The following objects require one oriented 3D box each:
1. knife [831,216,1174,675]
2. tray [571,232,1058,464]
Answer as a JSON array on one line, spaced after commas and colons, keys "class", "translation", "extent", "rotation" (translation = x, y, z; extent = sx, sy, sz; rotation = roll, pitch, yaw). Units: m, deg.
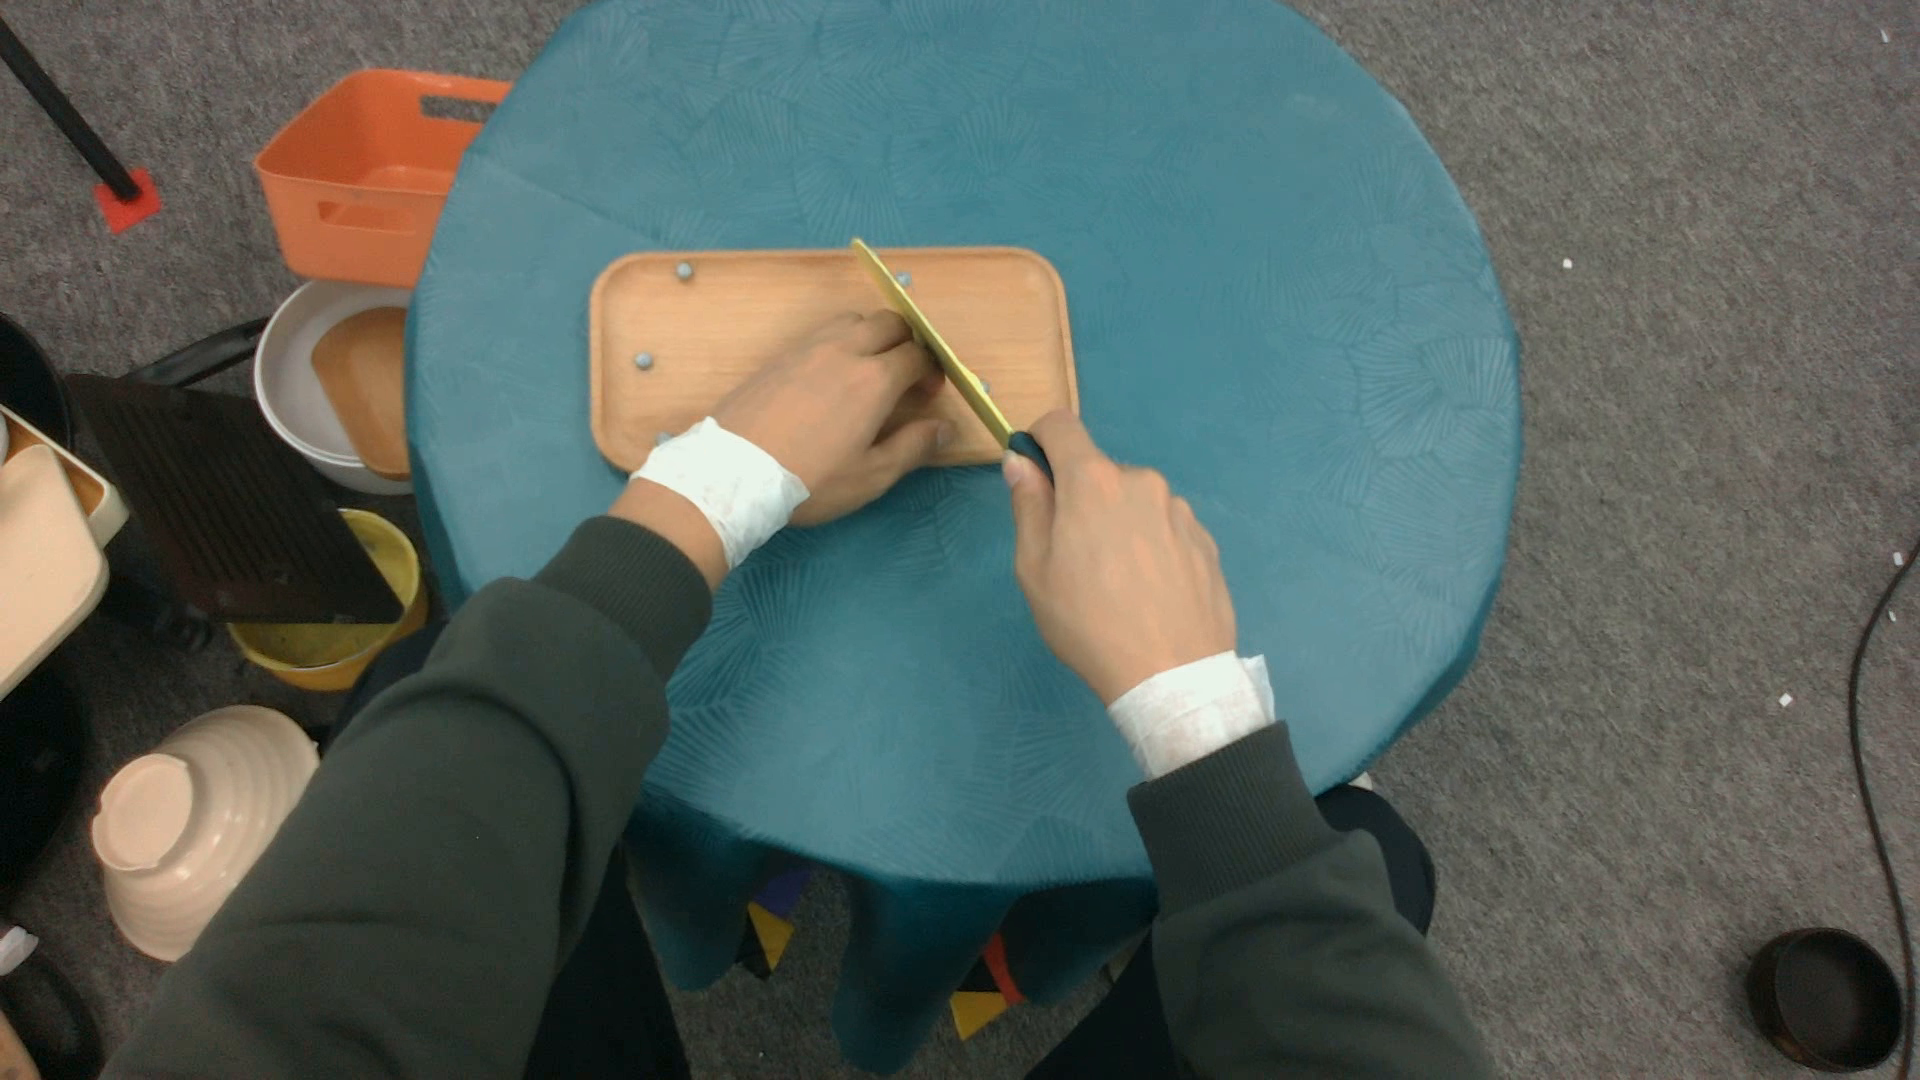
[{"class": "knife", "translation": [0.012, -0.053, 0.657], "extent": [0.027, 0.081, 0.290], "rotation": [-35, 69, 1]}, {"class": "tray", "translation": [-0.075, -0.103, 0.727], "extent": [0.251, 0.023, 0.131], "rotation": [-2, 72, -11]}]
